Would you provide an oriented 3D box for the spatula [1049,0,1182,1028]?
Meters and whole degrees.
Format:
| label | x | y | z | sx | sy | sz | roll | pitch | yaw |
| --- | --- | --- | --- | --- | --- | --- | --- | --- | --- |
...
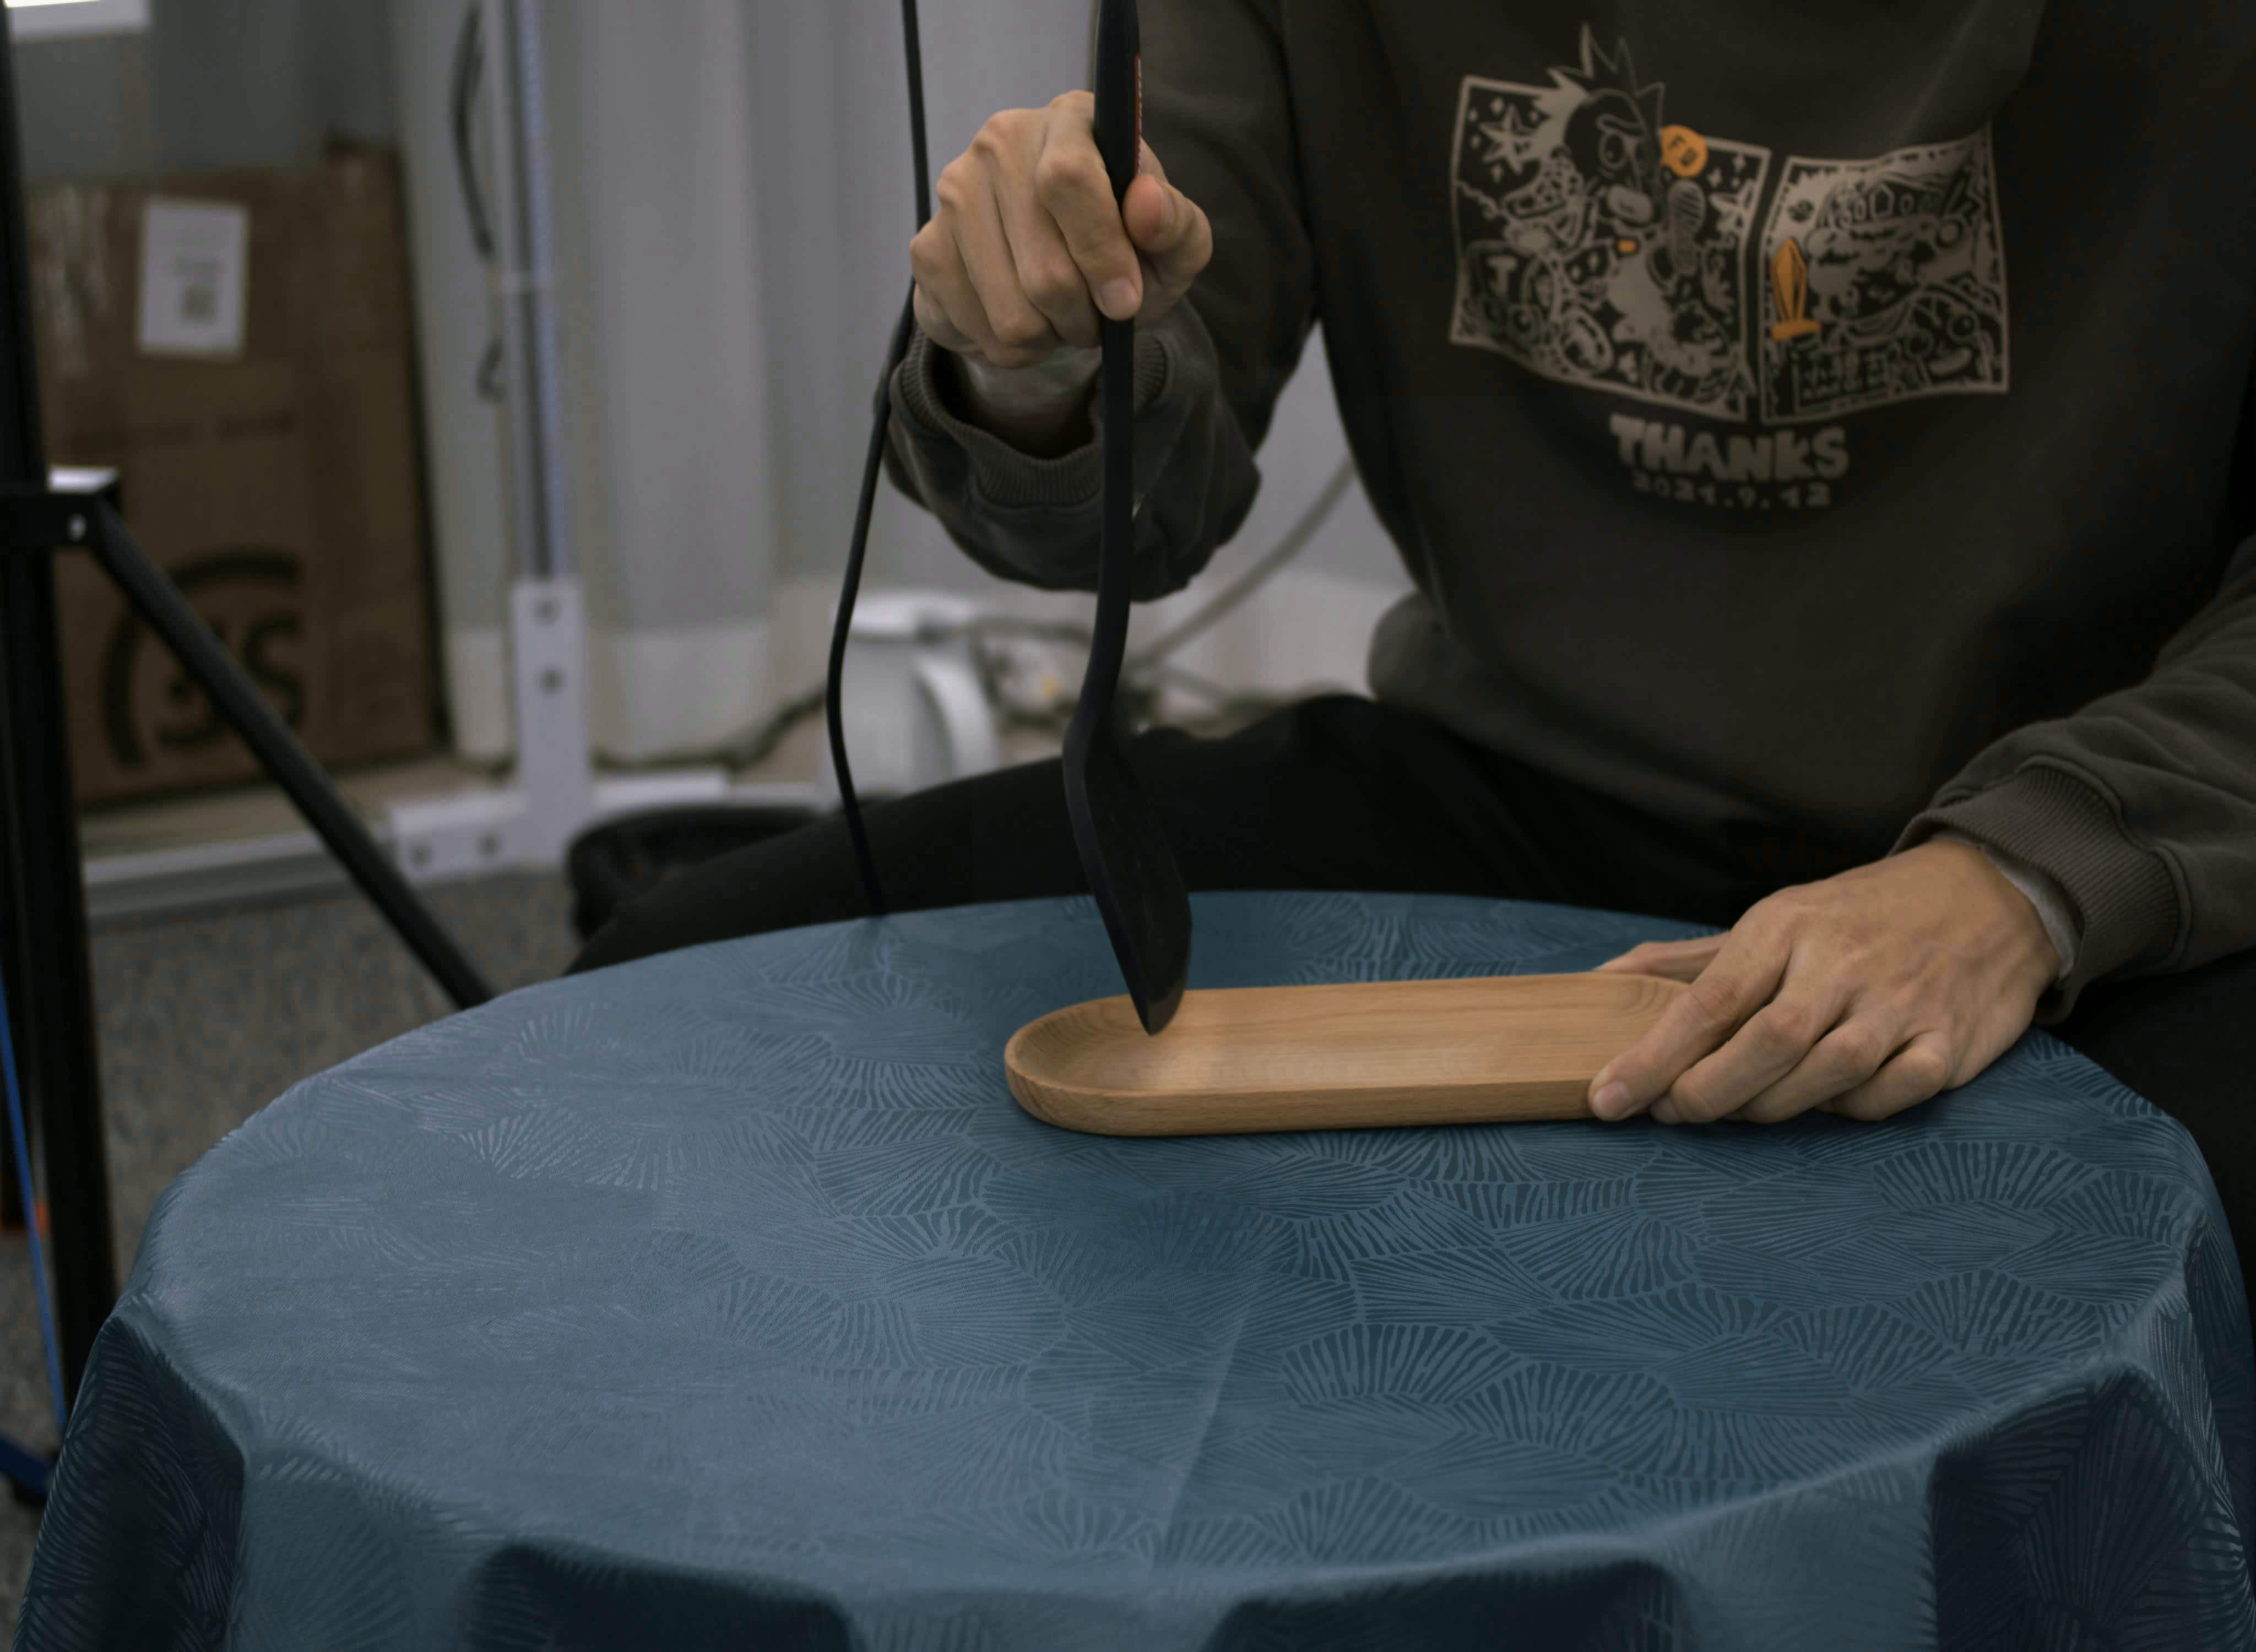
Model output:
| label | x | y | z | sx | sy | sz | roll | pitch | yaw |
| --- | --- | --- | --- | --- | --- | --- | --- | --- | --- |
| spatula | 0.001 | -0.104 | 1.607 | 0.040 | 0.326 | 0.099 | 5 | 13 | 7 |

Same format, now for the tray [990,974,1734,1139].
| label | x | y | z | sx | sy | sz | roll | pitch | yaw |
| --- | --- | --- | --- | --- | --- | --- | --- | --- | --- |
| tray | 0.073 | 0.072 | 1.647 | 0.230 | 0.020 | 0.102 | -3 | 16 | 3 |
